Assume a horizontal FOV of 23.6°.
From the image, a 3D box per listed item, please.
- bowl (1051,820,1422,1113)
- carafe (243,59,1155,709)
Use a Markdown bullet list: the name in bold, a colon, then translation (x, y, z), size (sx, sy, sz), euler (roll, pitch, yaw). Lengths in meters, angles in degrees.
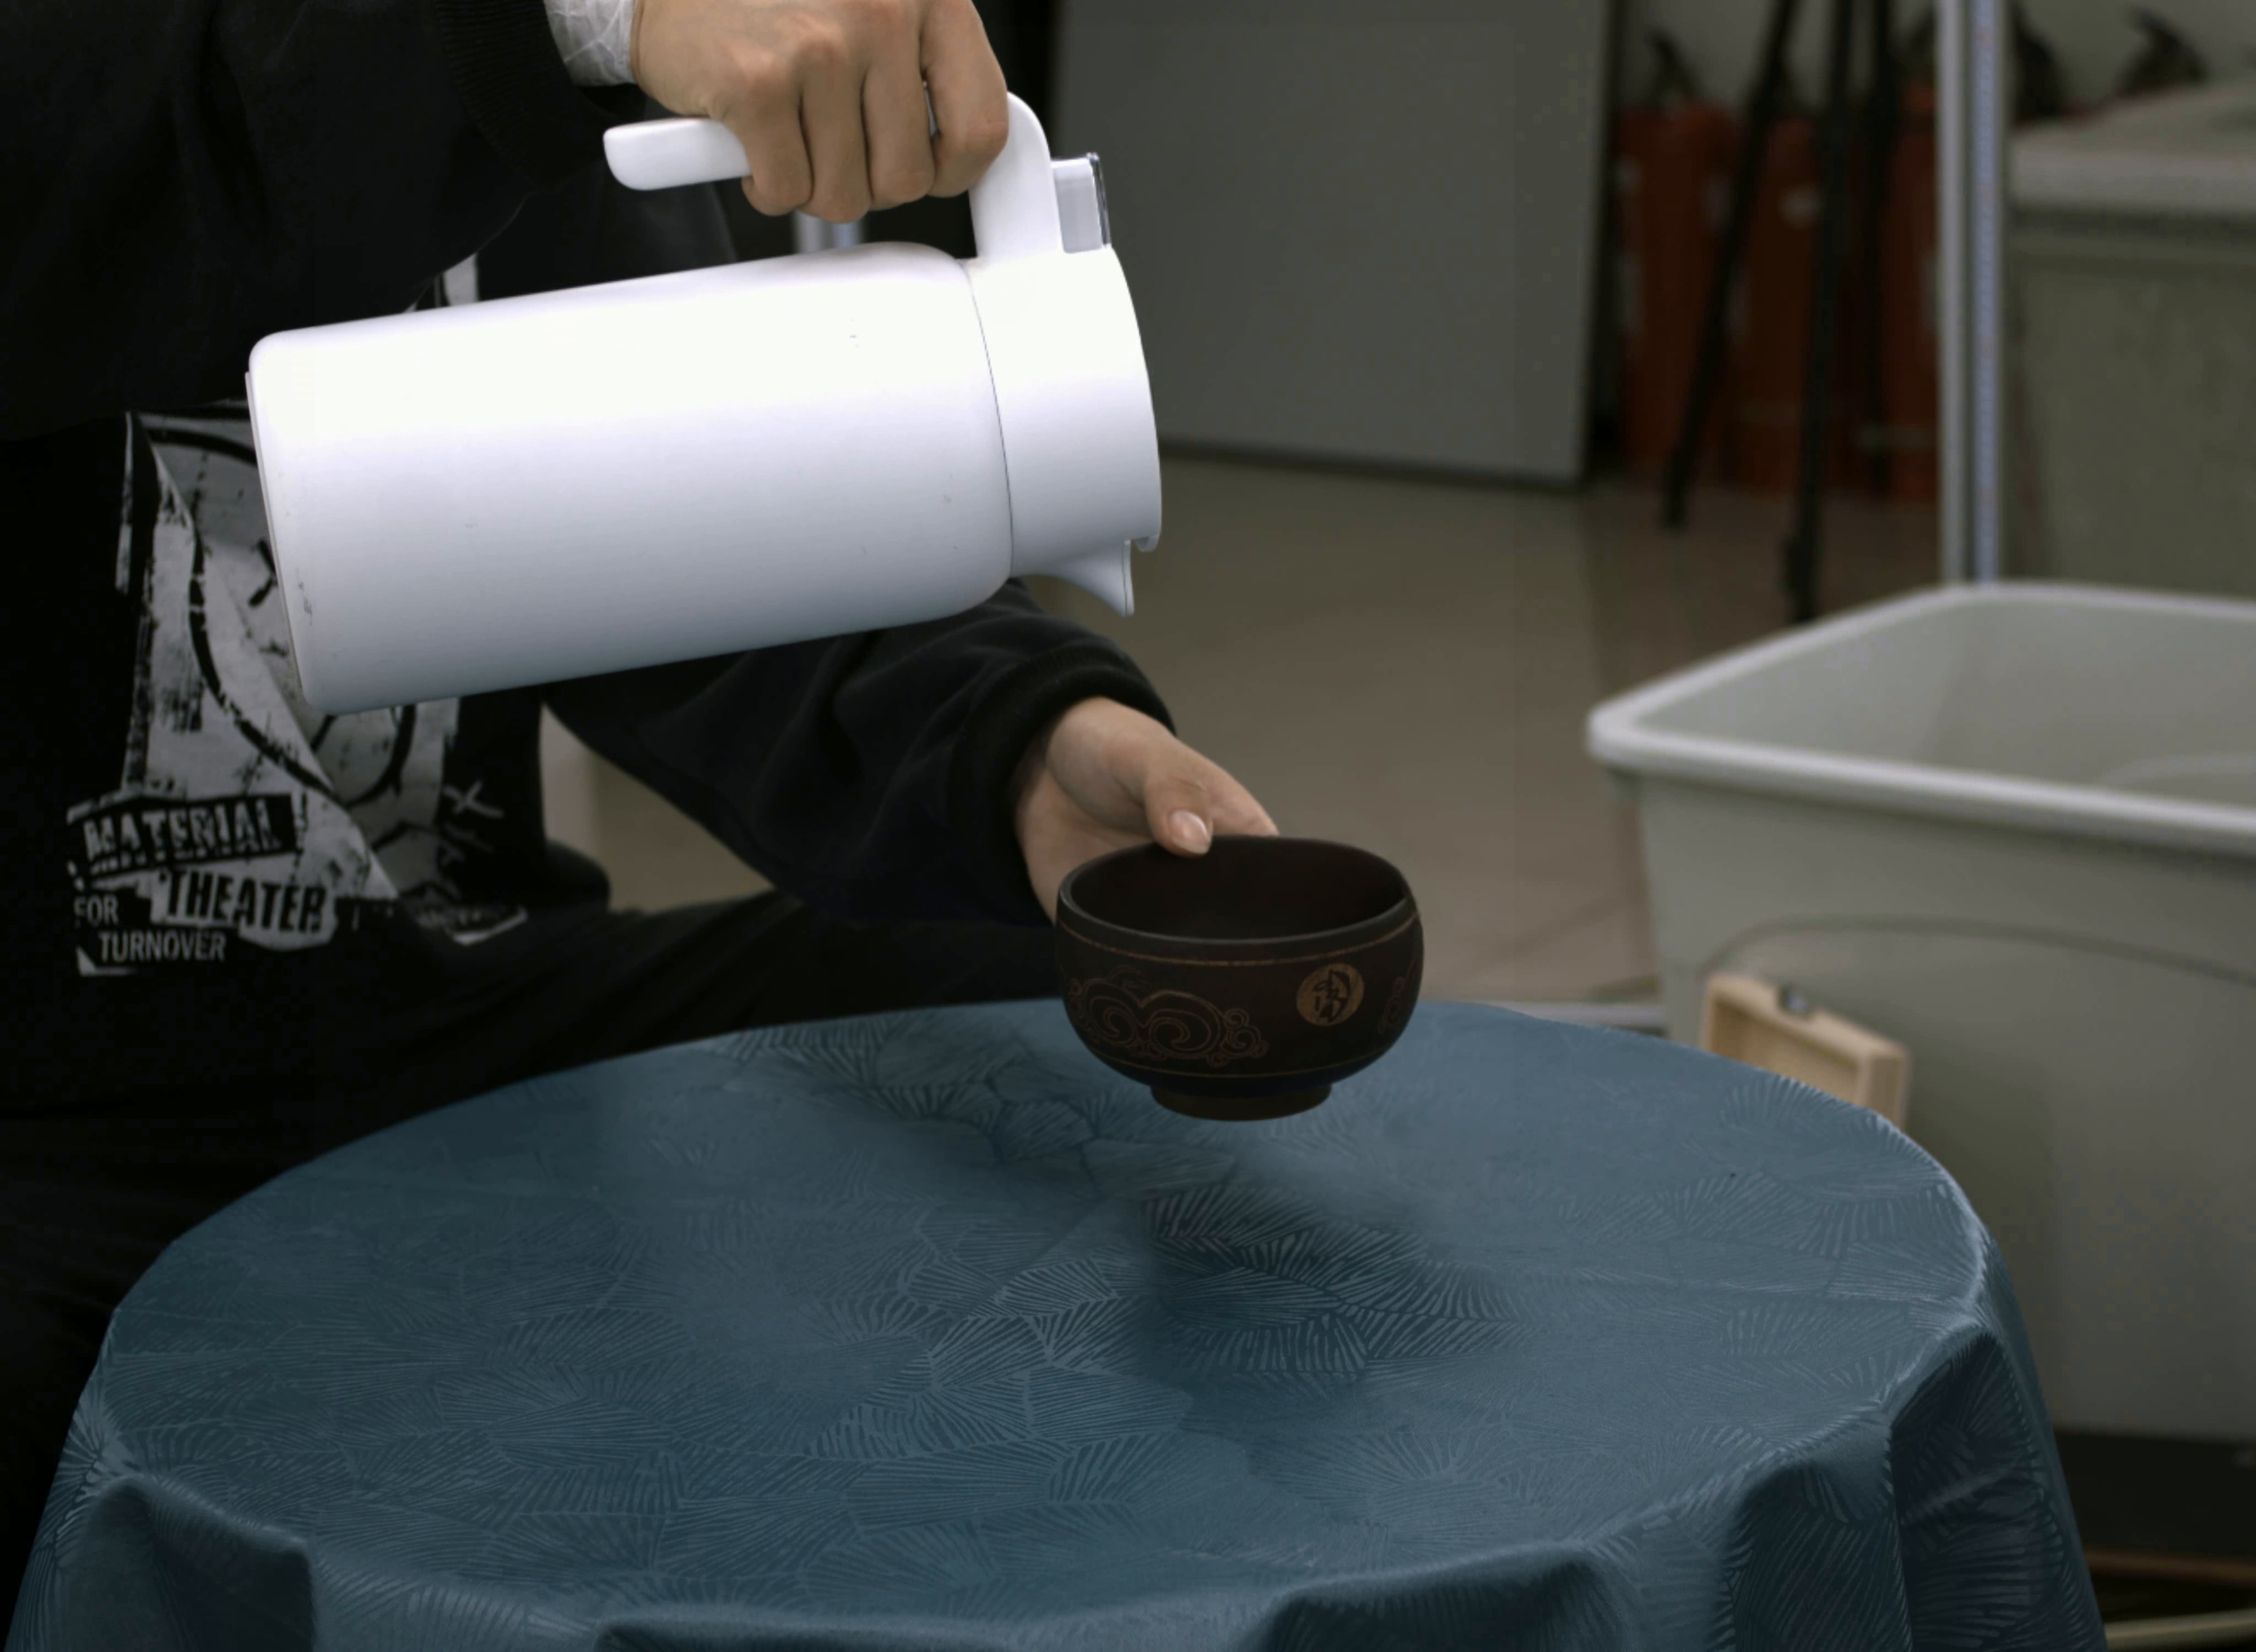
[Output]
- **bowl**: translation (0.034, 0.047, 1.683), size (0.116, 0.070, 0.118), euler (-3, 16, 0)
- **carafe**: translation (-0.131, -0.130, 1.634), size (0.265, 0.174, 0.124), euler (-10, 12, -4)
